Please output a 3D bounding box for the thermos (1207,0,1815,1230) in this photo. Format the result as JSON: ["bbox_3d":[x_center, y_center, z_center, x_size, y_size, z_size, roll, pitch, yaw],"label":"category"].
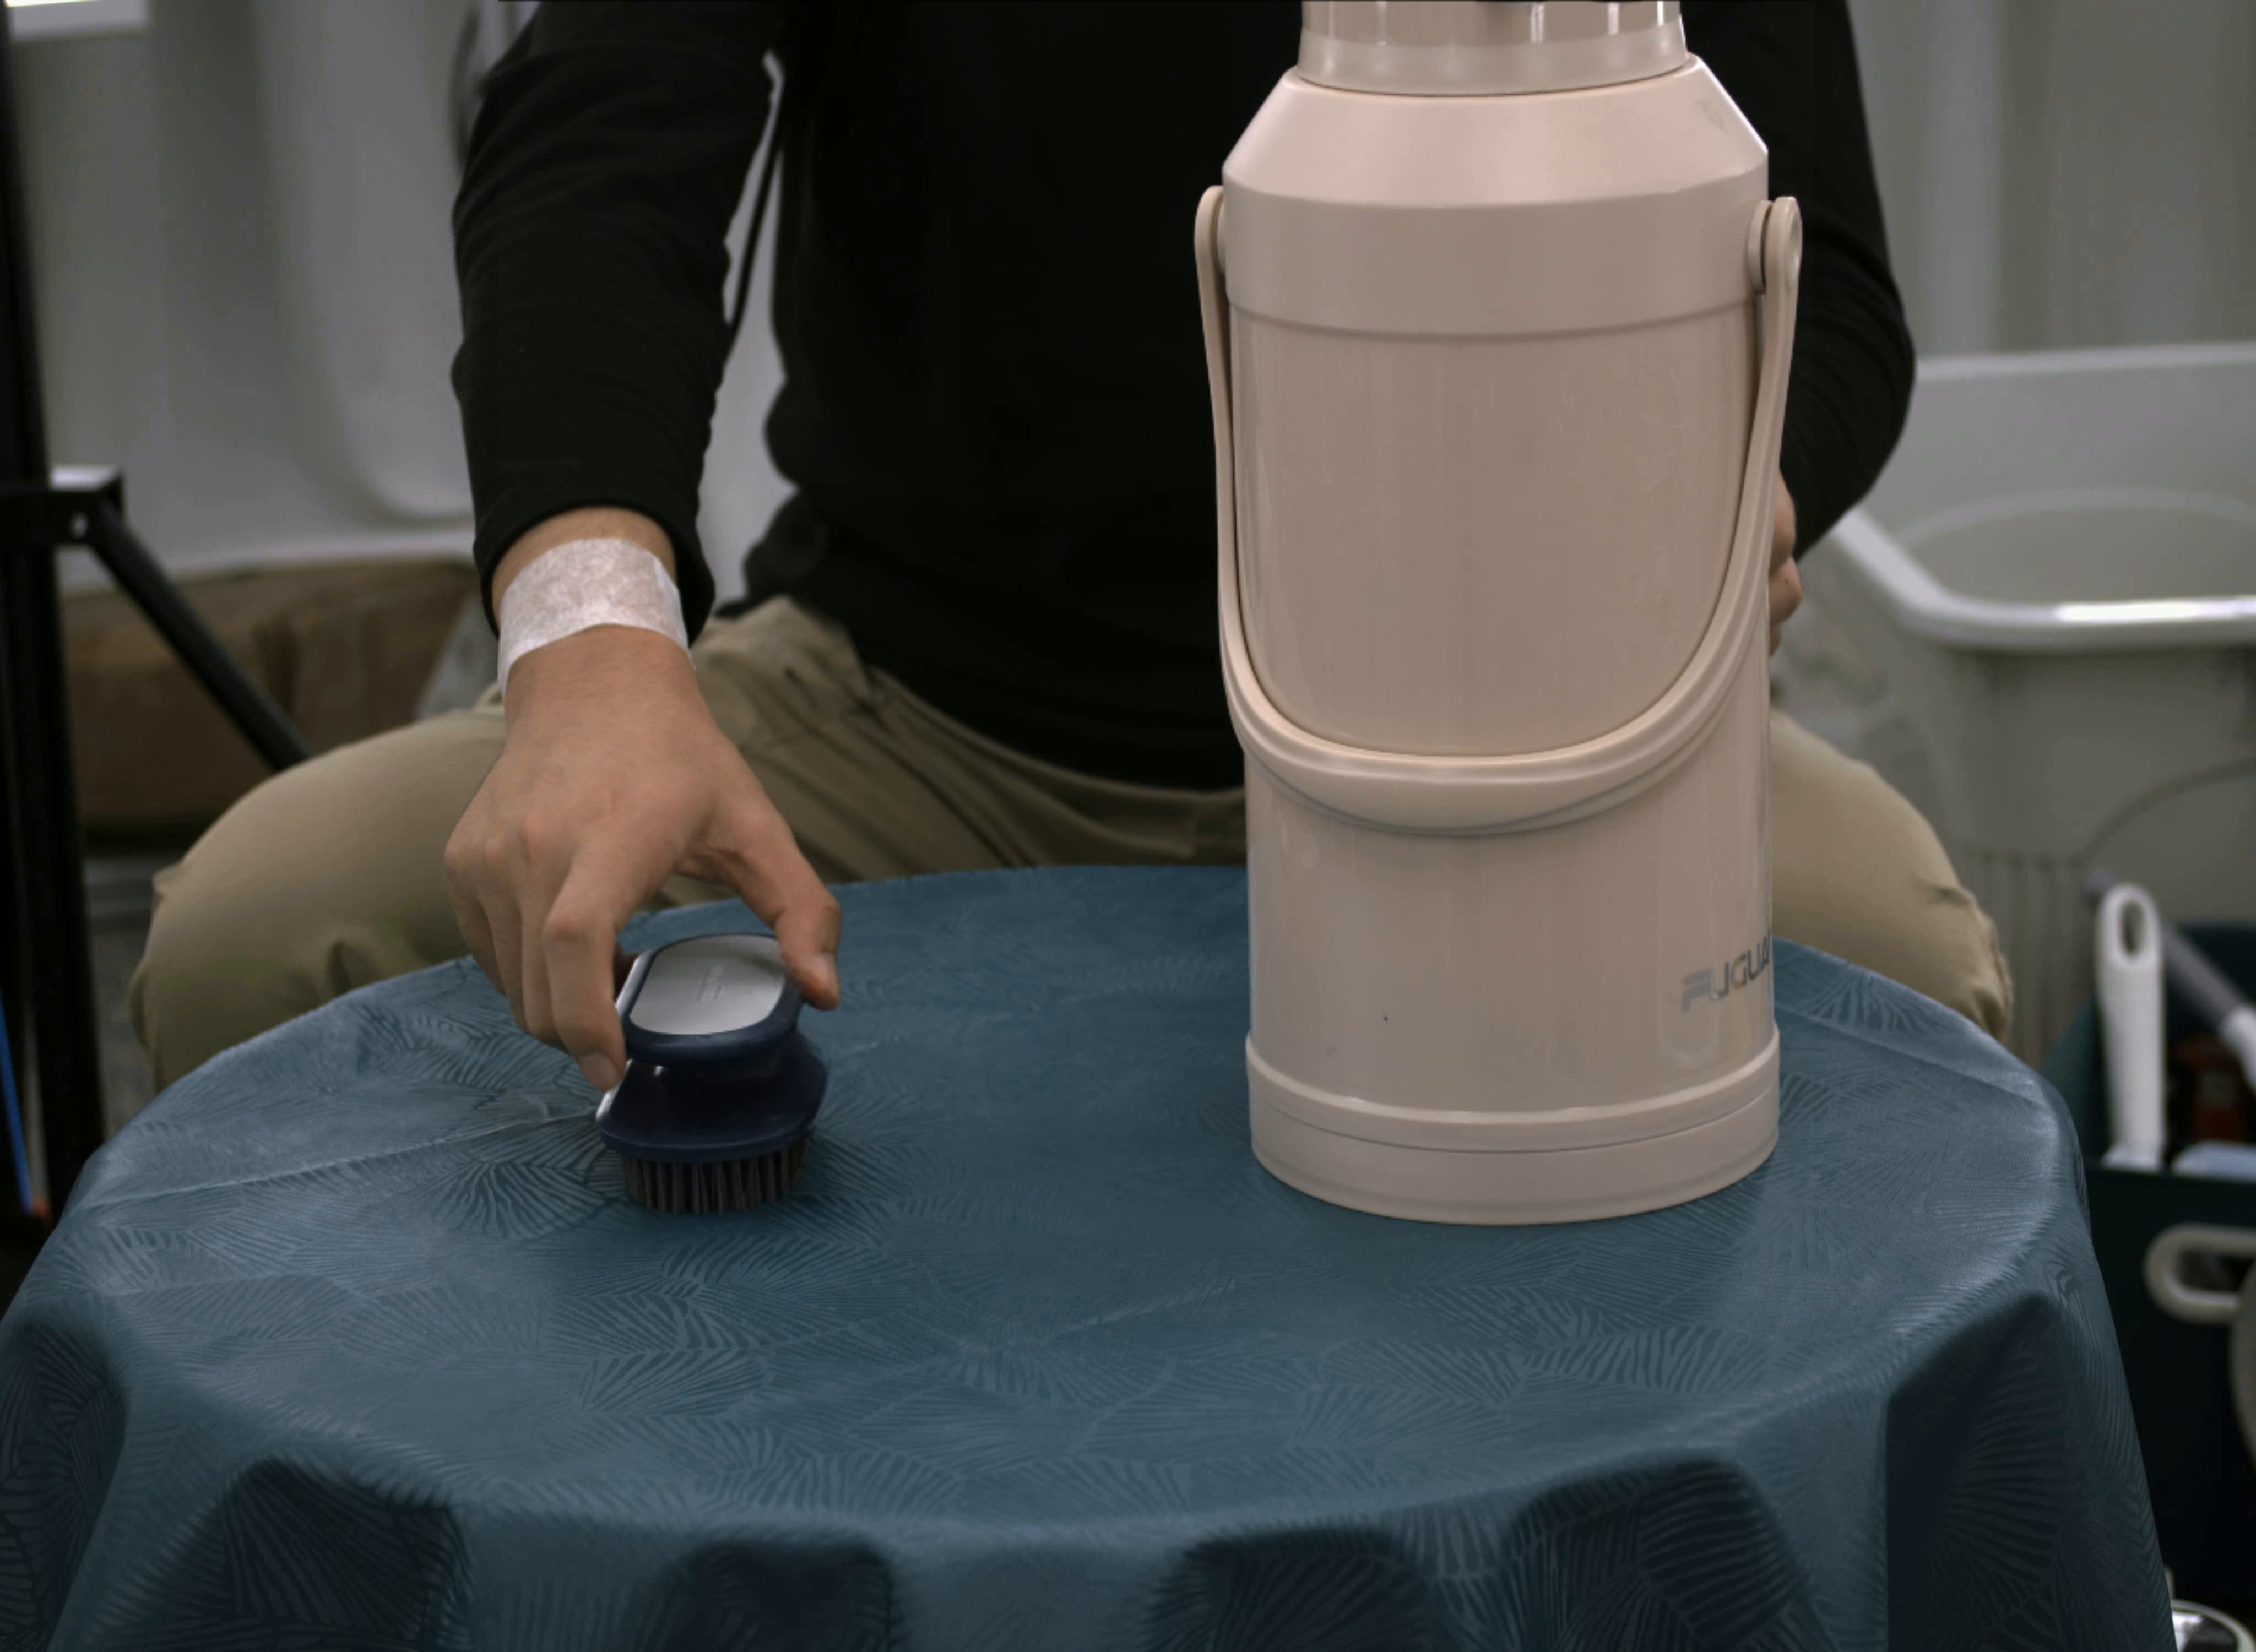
[{"bbox_3d":[0.117,-0.101,1.549,0.177,0.406,0.204,2,16,20],"label":"thermos"}]

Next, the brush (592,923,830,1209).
[{"bbox_3d":[-0.124,0.073,1.599,0.068,0.061,0.121,2,17,5],"label":"brush"}]
